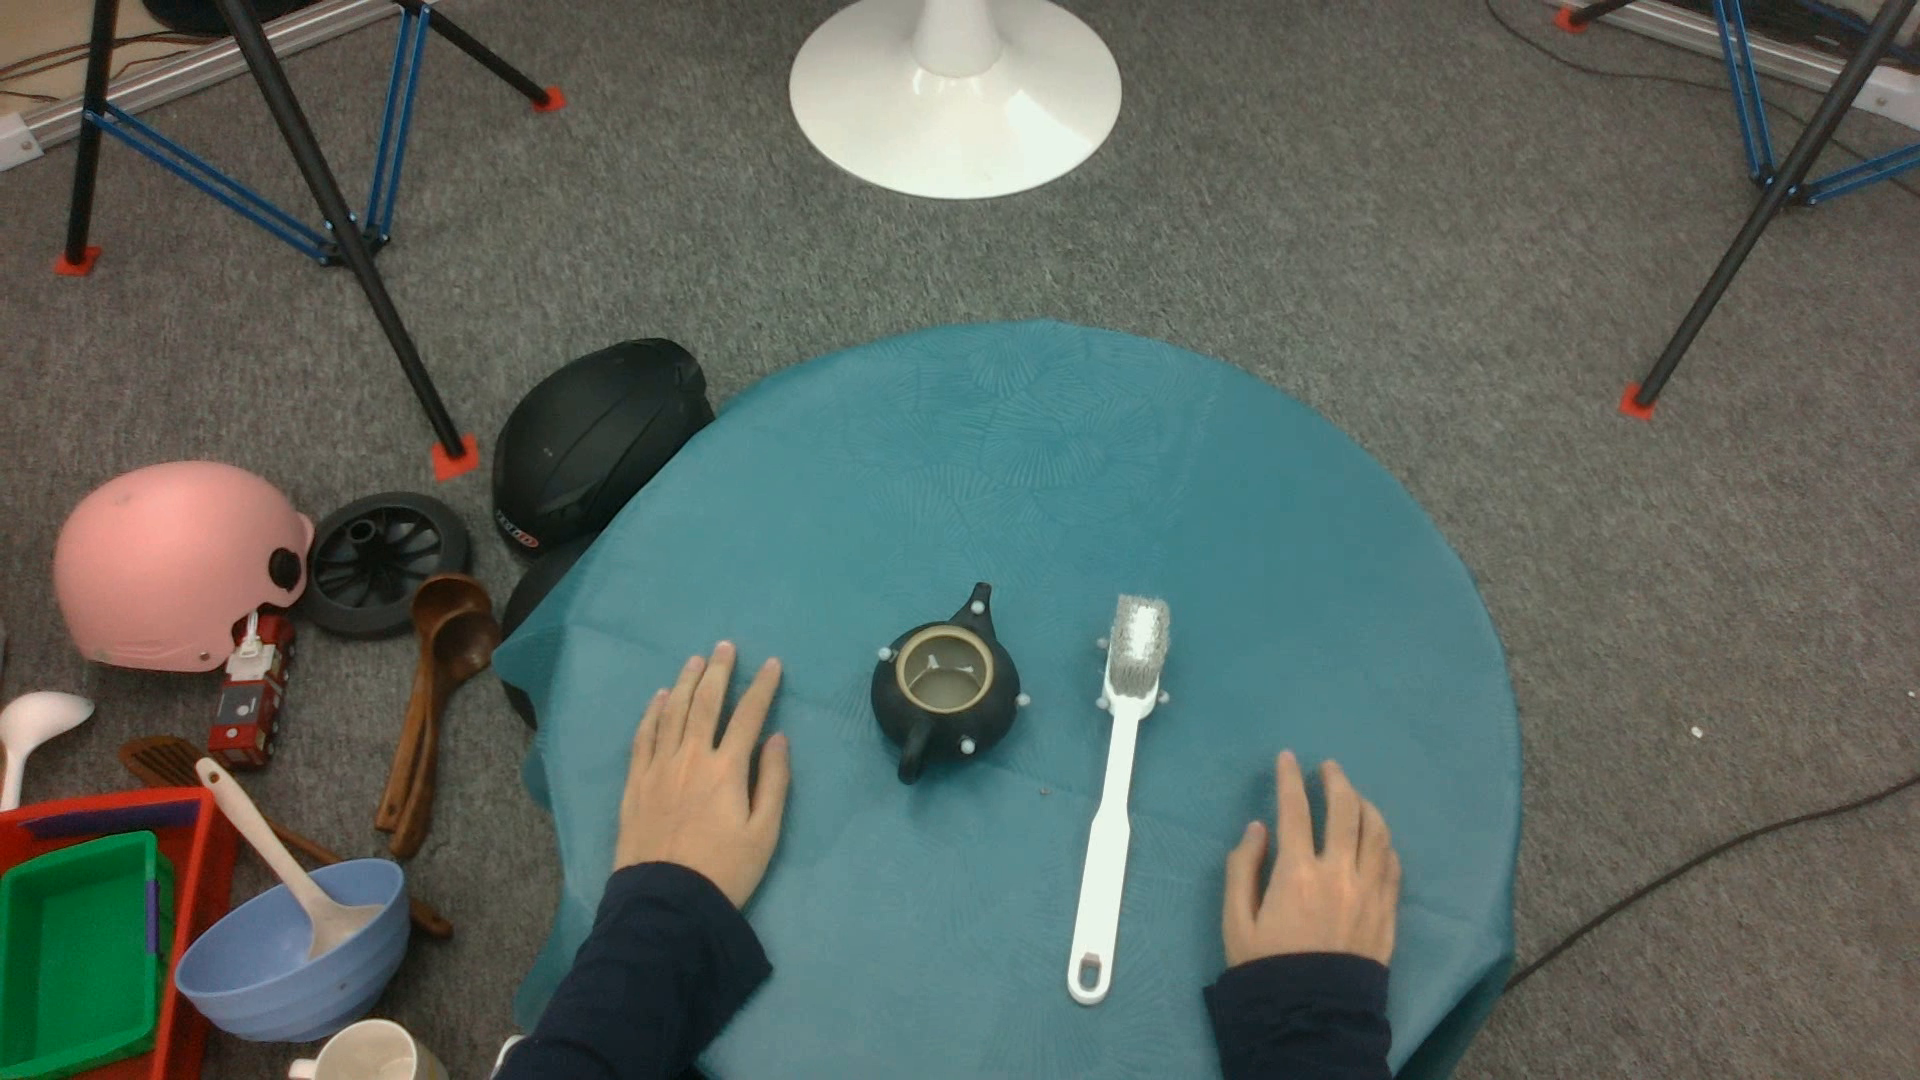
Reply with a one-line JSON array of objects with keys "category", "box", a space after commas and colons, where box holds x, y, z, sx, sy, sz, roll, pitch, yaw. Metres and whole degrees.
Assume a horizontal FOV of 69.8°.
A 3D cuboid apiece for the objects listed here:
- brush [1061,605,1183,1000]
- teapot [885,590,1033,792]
[{"category": "brush", "box": [0.096, 0.144, 0.807, 0.034, 0.050, 0.245, 14, 56, 5]}, {"category": "teapot", "box": [-0.001, 0.095, 0.837, 0.091, 0.053, 0.134, 15, 57, 14]}]
